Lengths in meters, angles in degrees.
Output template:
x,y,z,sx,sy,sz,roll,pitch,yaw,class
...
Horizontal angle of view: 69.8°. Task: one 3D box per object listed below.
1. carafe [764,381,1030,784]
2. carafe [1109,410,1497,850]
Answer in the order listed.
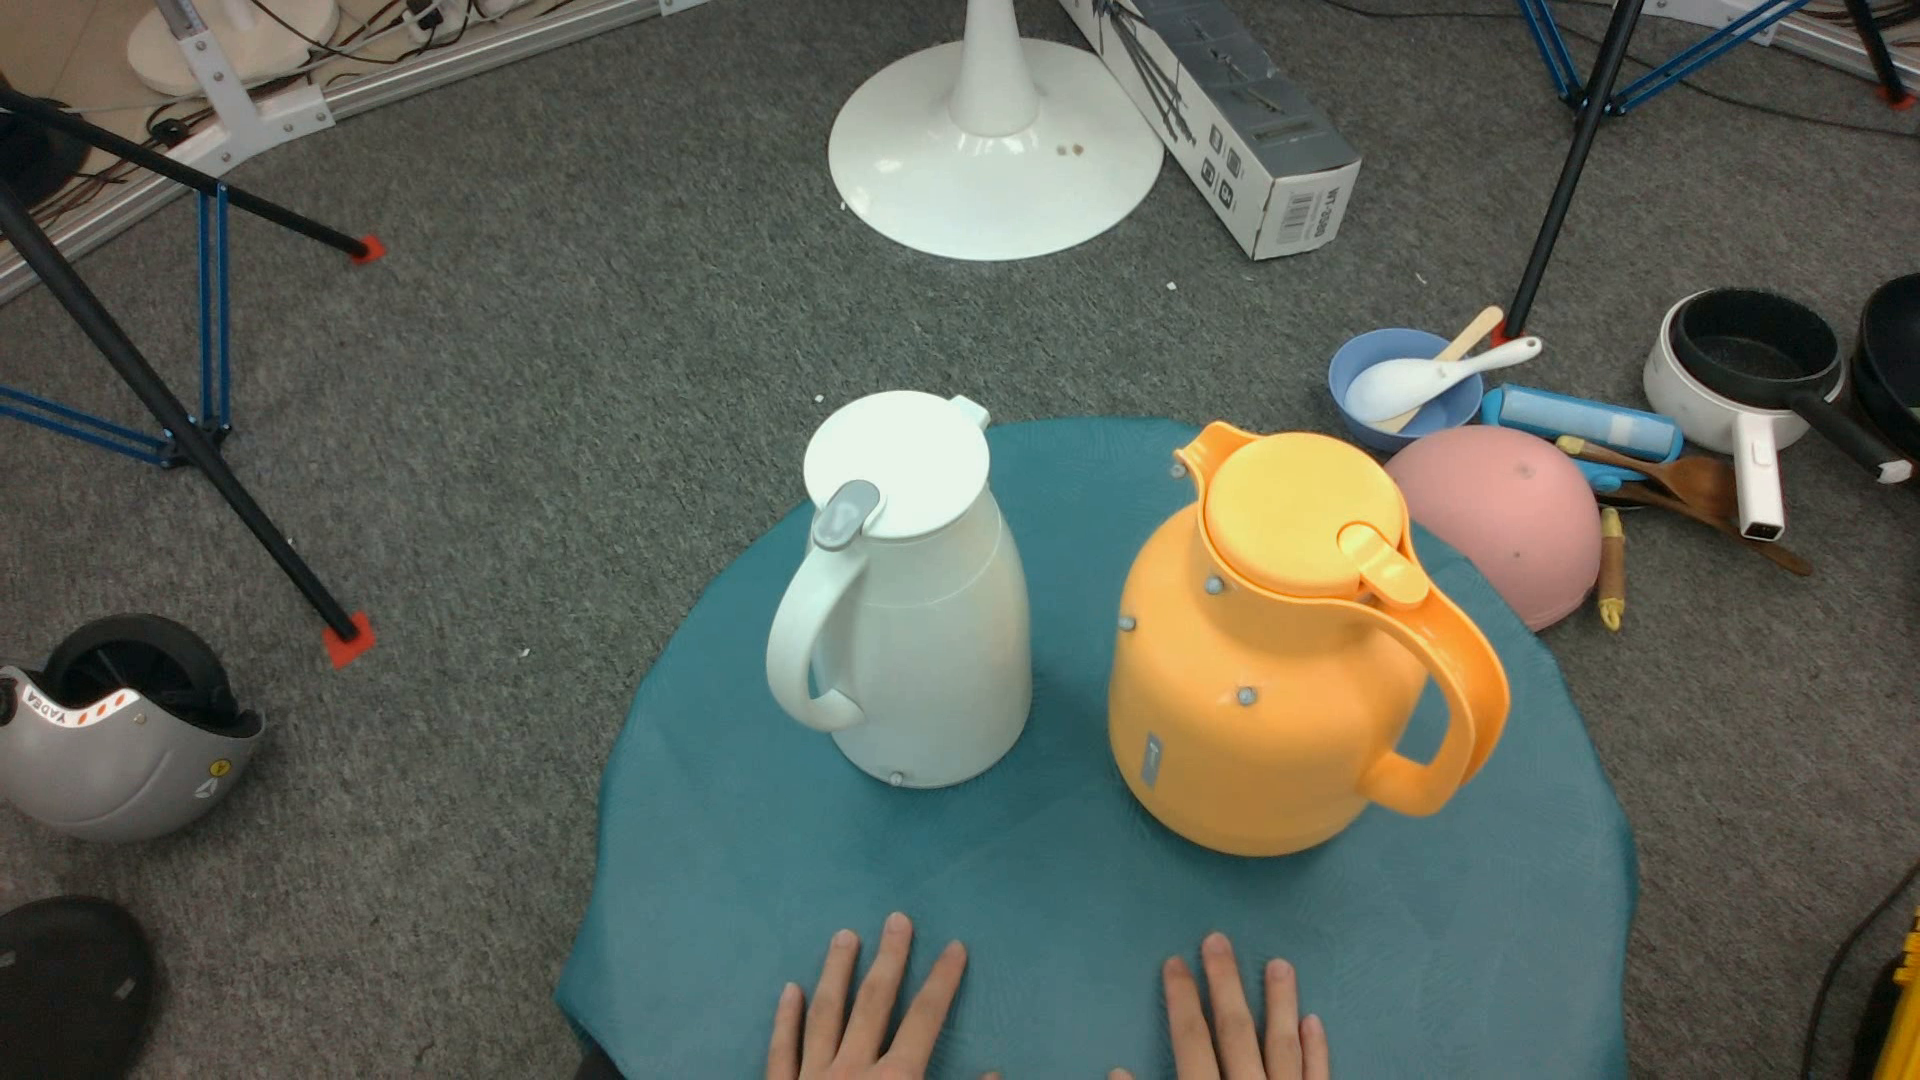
x,y,z,sx,sy,sz,roll,pitch,yaw,class
-0.038,0.037,0.756,0.132,0.247,0.168,30,62,21,carafe
0.174,0.061,0.723,0.164,0.259,0.202,-35,59,-18,carafe
